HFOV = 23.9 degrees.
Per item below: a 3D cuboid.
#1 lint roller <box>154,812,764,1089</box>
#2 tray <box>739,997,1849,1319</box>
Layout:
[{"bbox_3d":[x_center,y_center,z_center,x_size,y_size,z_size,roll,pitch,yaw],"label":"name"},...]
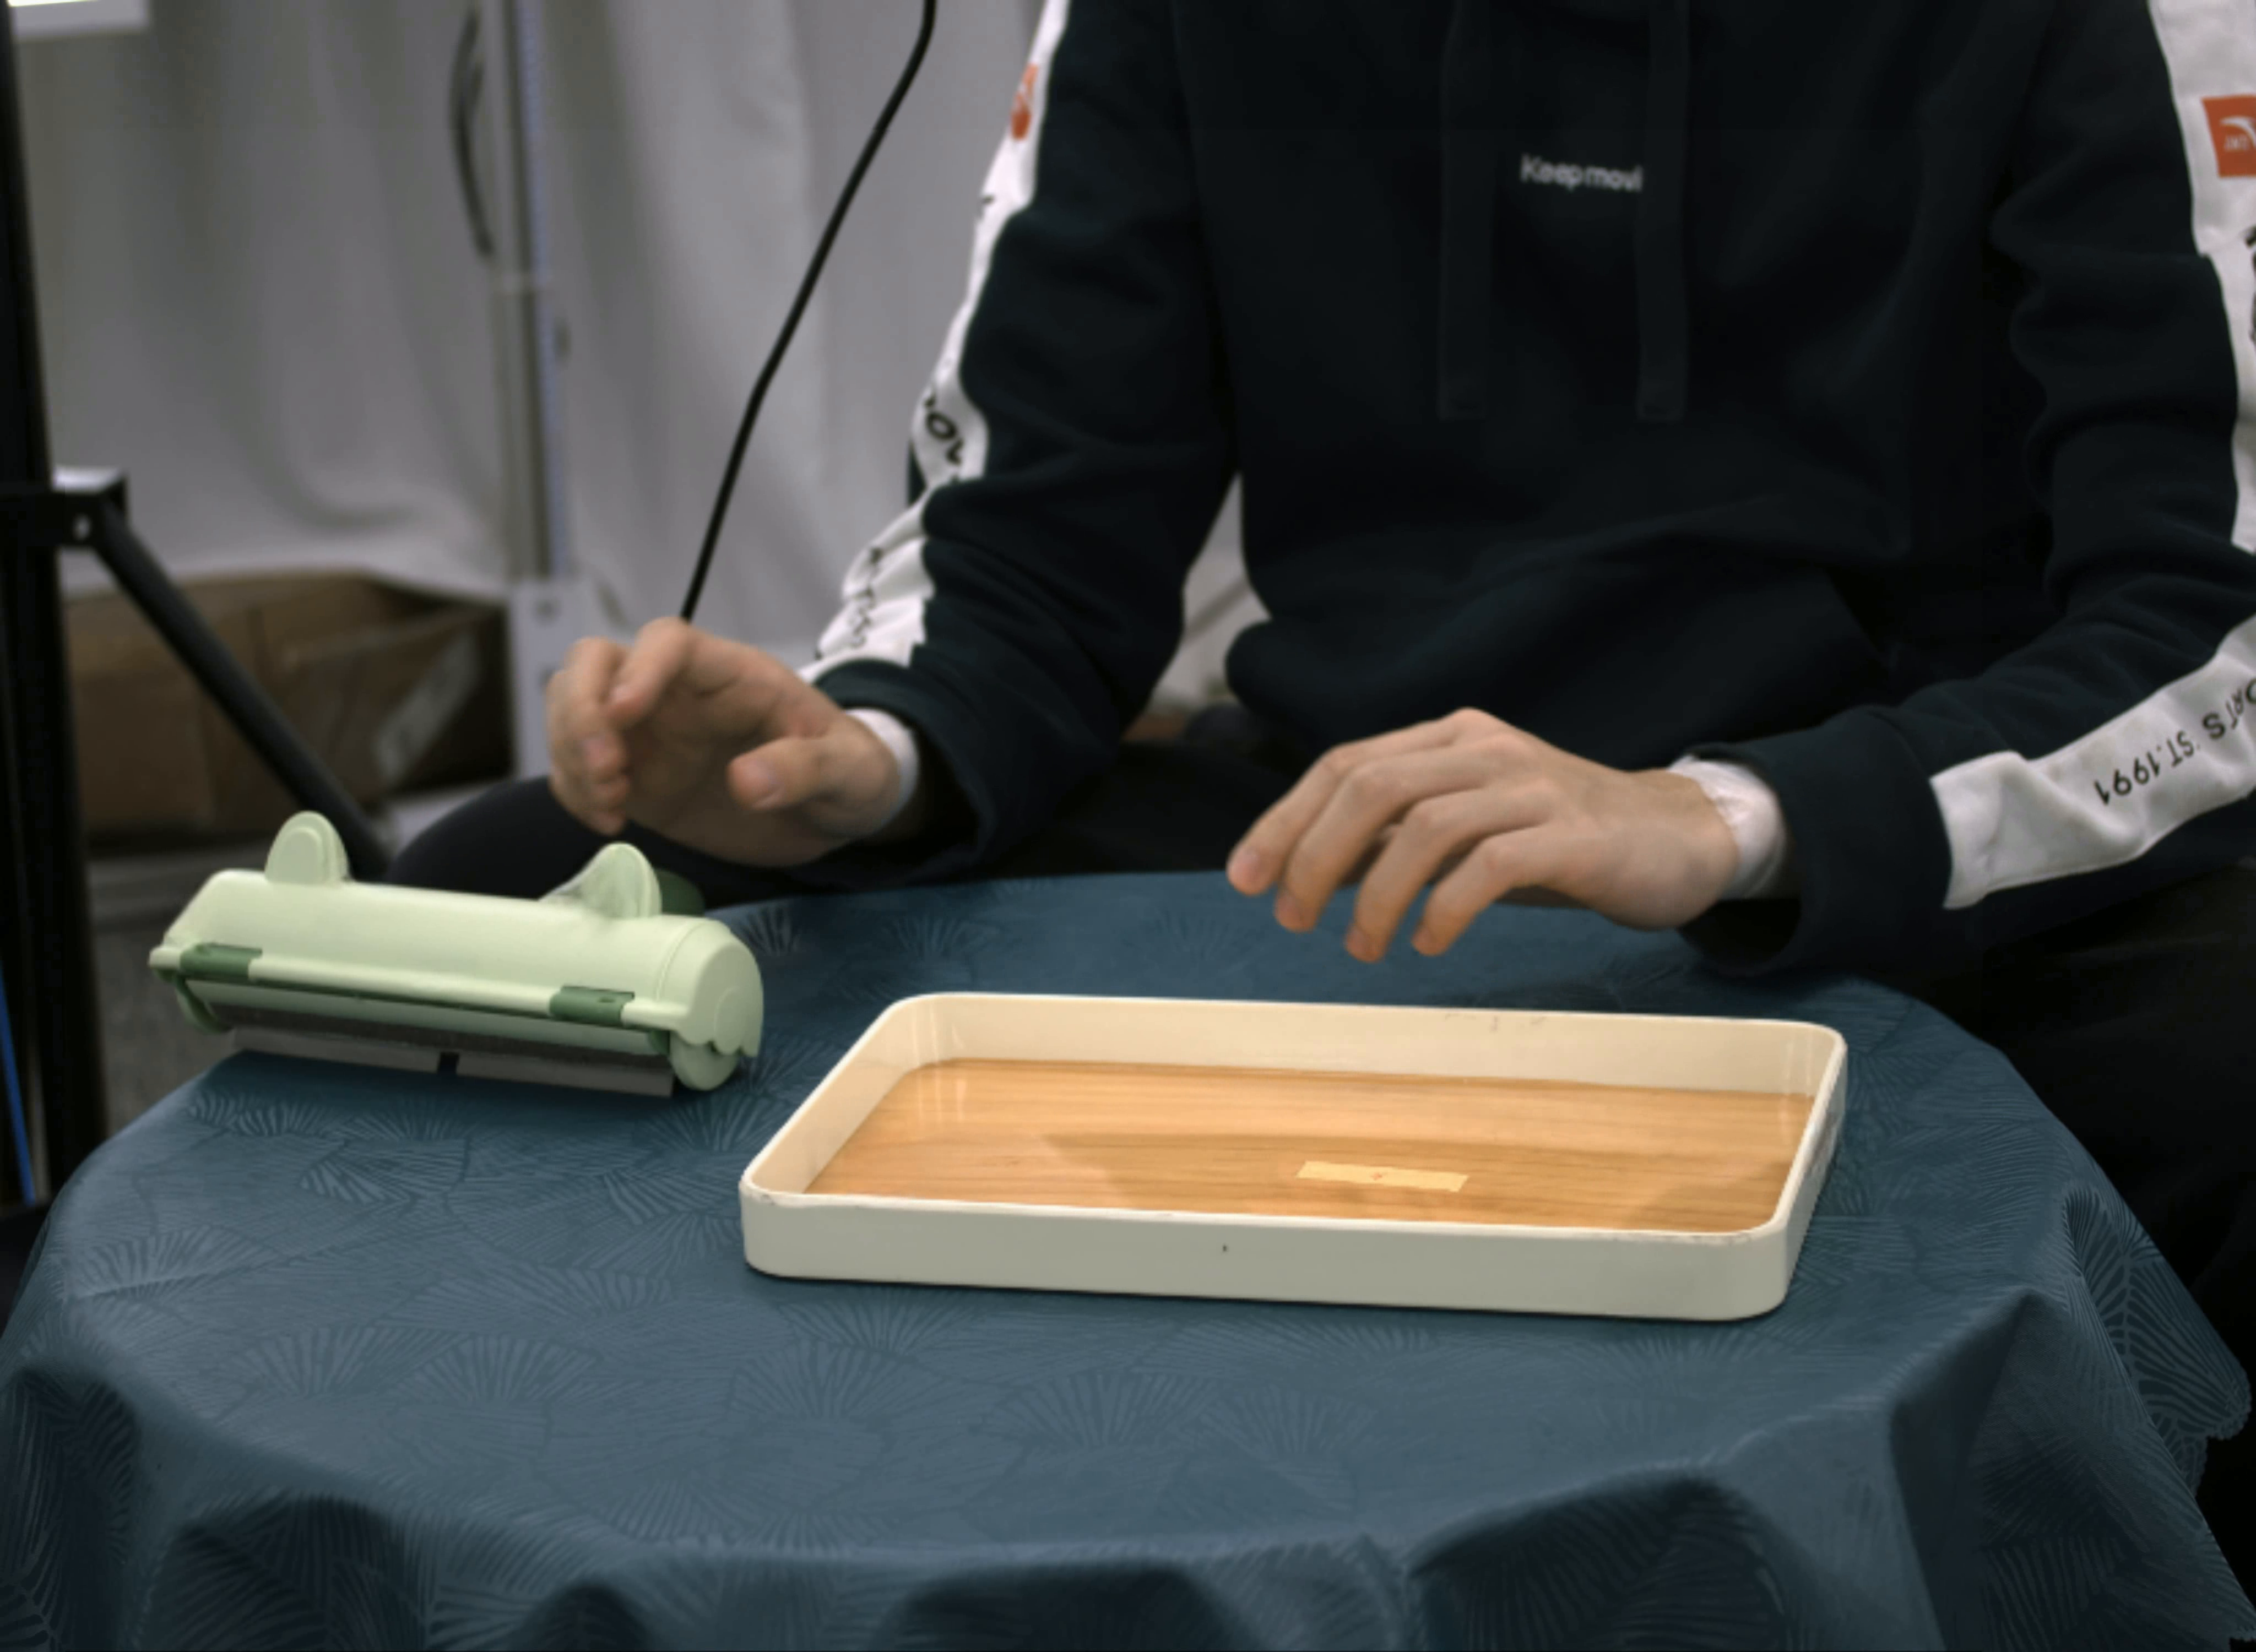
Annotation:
[{"bbox_3d":[-0.190,0.023,1.746,0.202,0.082,0.181,5,22,26],"label":"lint roller"},{"bbox_3d":[0.053,0.095,1.547,0.302,0.027,0.190,2,16,15],"label":"tray"}]
